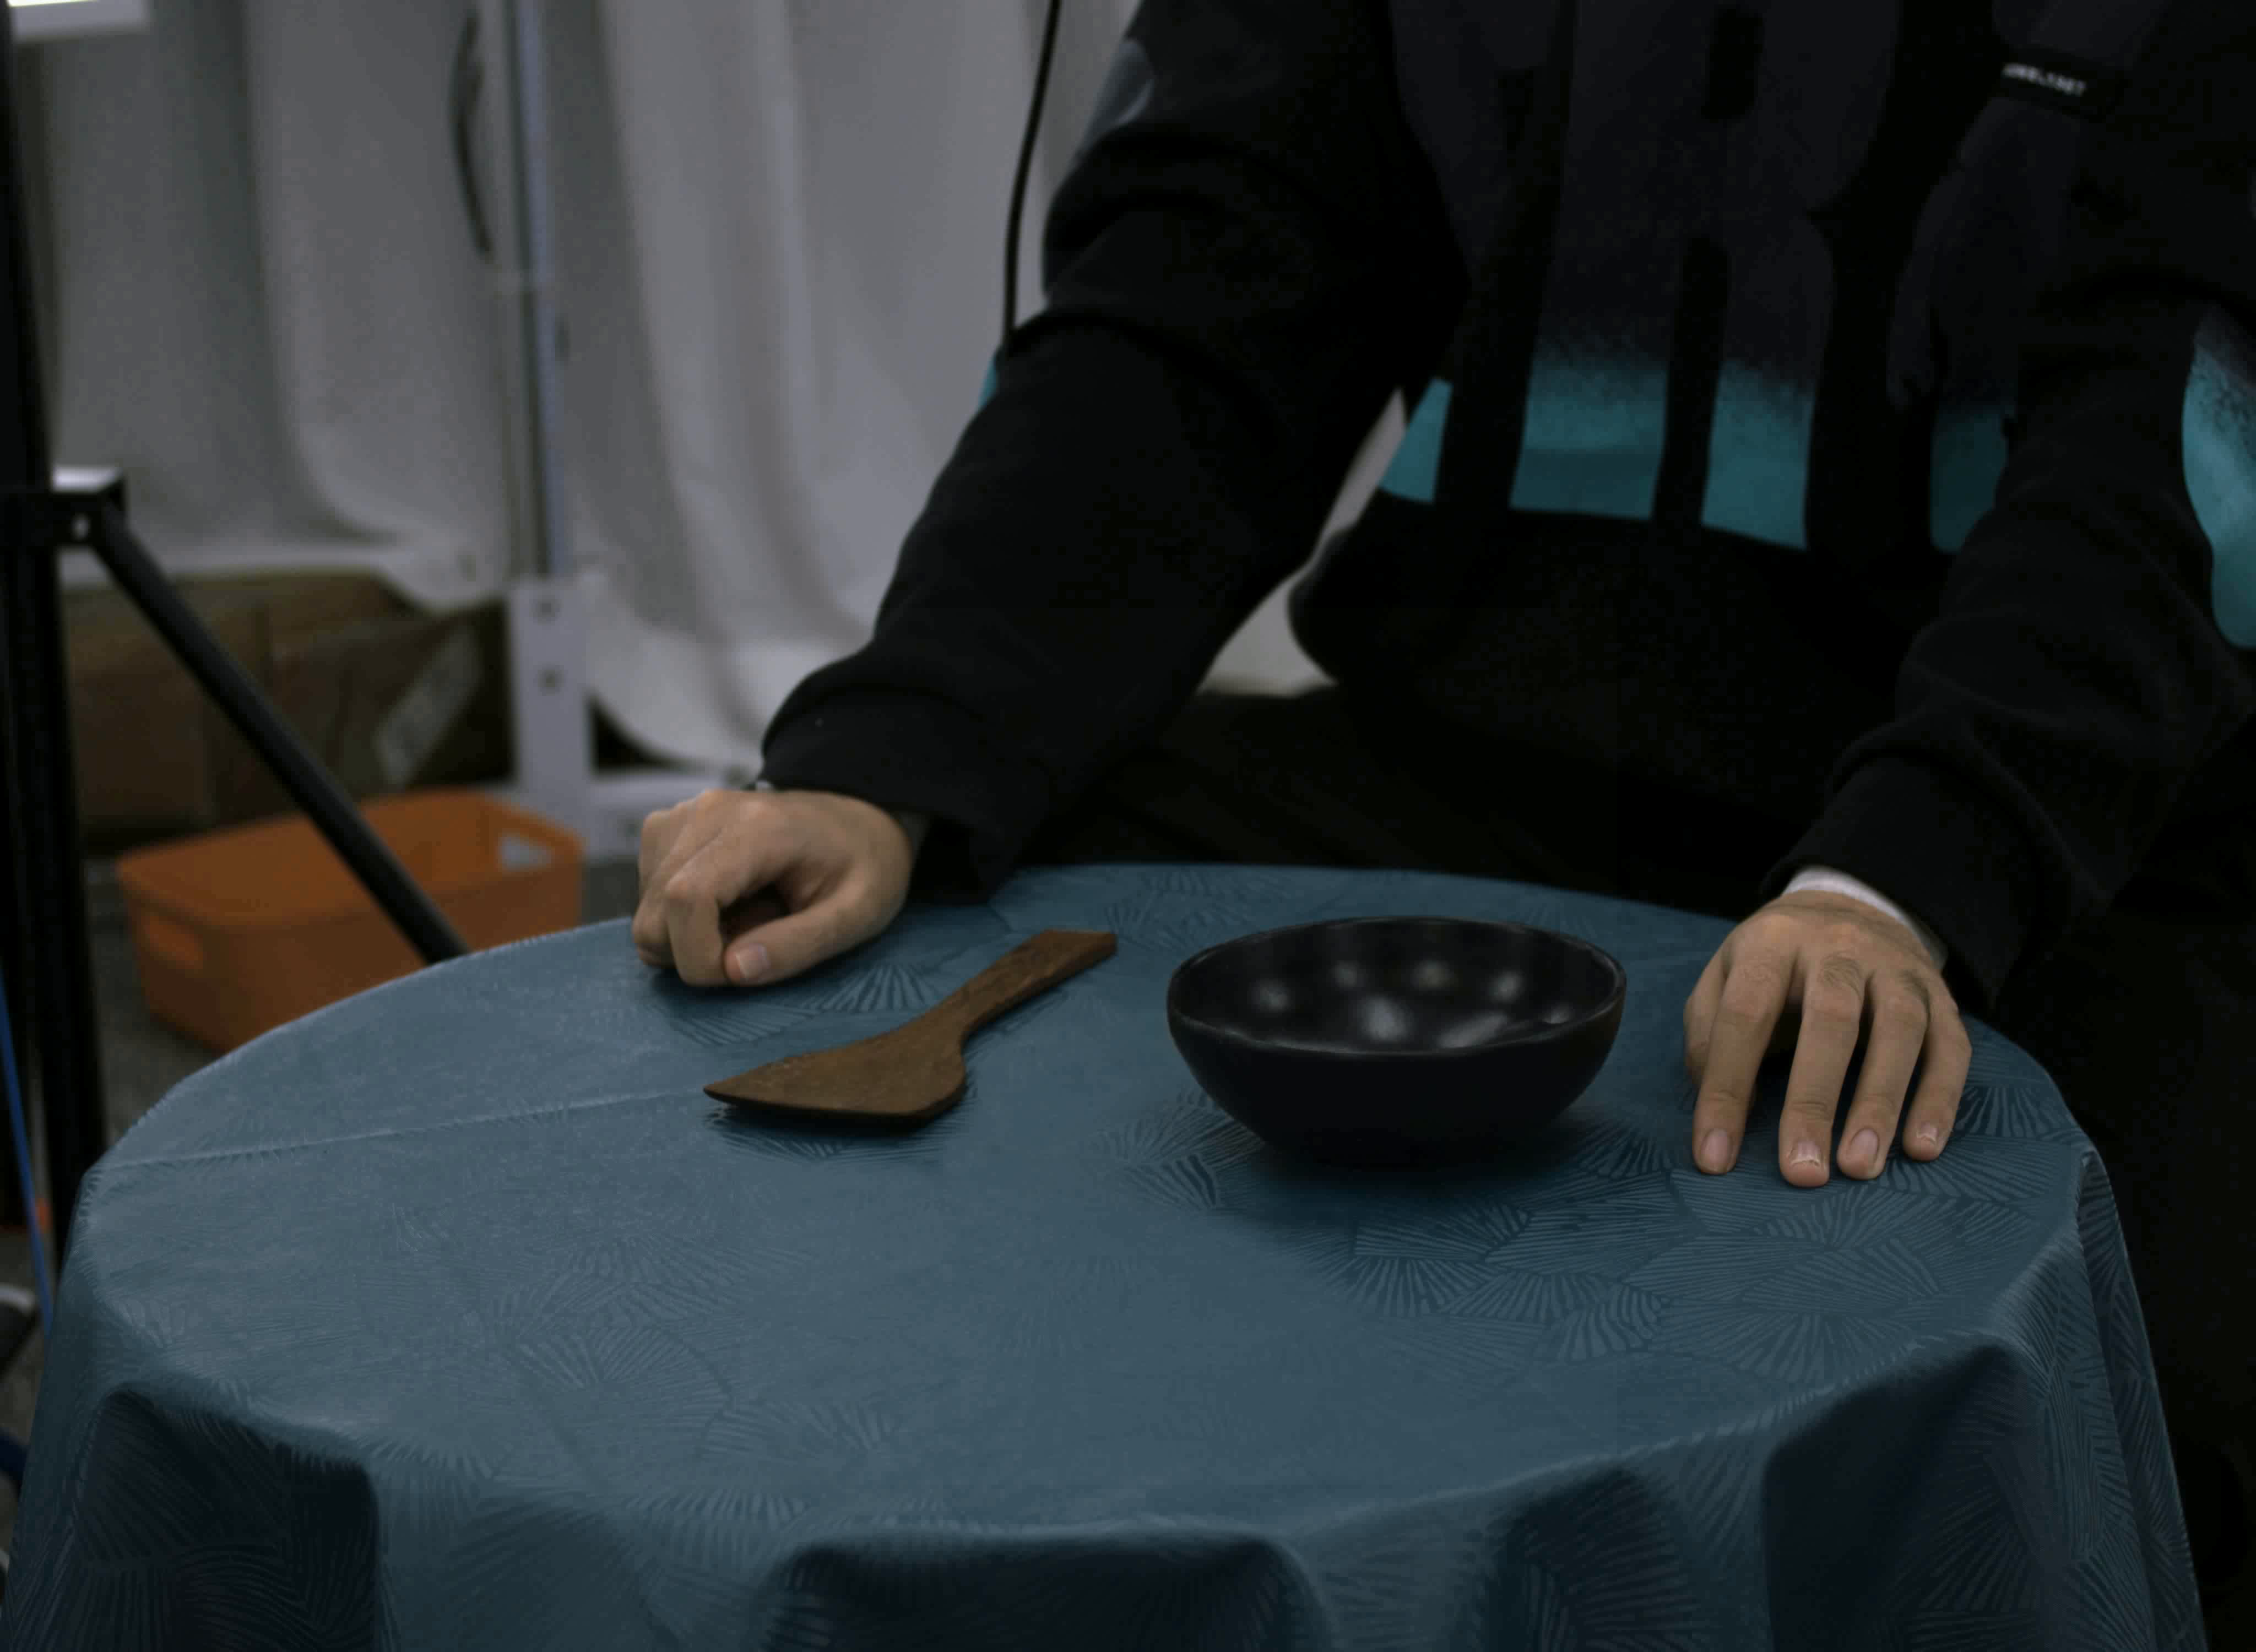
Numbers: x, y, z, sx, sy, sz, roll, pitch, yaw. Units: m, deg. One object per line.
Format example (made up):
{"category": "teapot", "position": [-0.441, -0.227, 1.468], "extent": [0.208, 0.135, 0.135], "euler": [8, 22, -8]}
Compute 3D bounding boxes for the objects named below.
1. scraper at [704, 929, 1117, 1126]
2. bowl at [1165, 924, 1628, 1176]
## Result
{"category": "scraper", "position": [-0.057, 0.063, 1.711], "extent": [0.077, 0.011, 0.208], "euler": [7, 17, 25]}
{"category": "bowl", "position": [0.082, 0.071, 1.589], "extent": [0.139, 0.050, 0.140], "euler": [-5, 14, 0]}
